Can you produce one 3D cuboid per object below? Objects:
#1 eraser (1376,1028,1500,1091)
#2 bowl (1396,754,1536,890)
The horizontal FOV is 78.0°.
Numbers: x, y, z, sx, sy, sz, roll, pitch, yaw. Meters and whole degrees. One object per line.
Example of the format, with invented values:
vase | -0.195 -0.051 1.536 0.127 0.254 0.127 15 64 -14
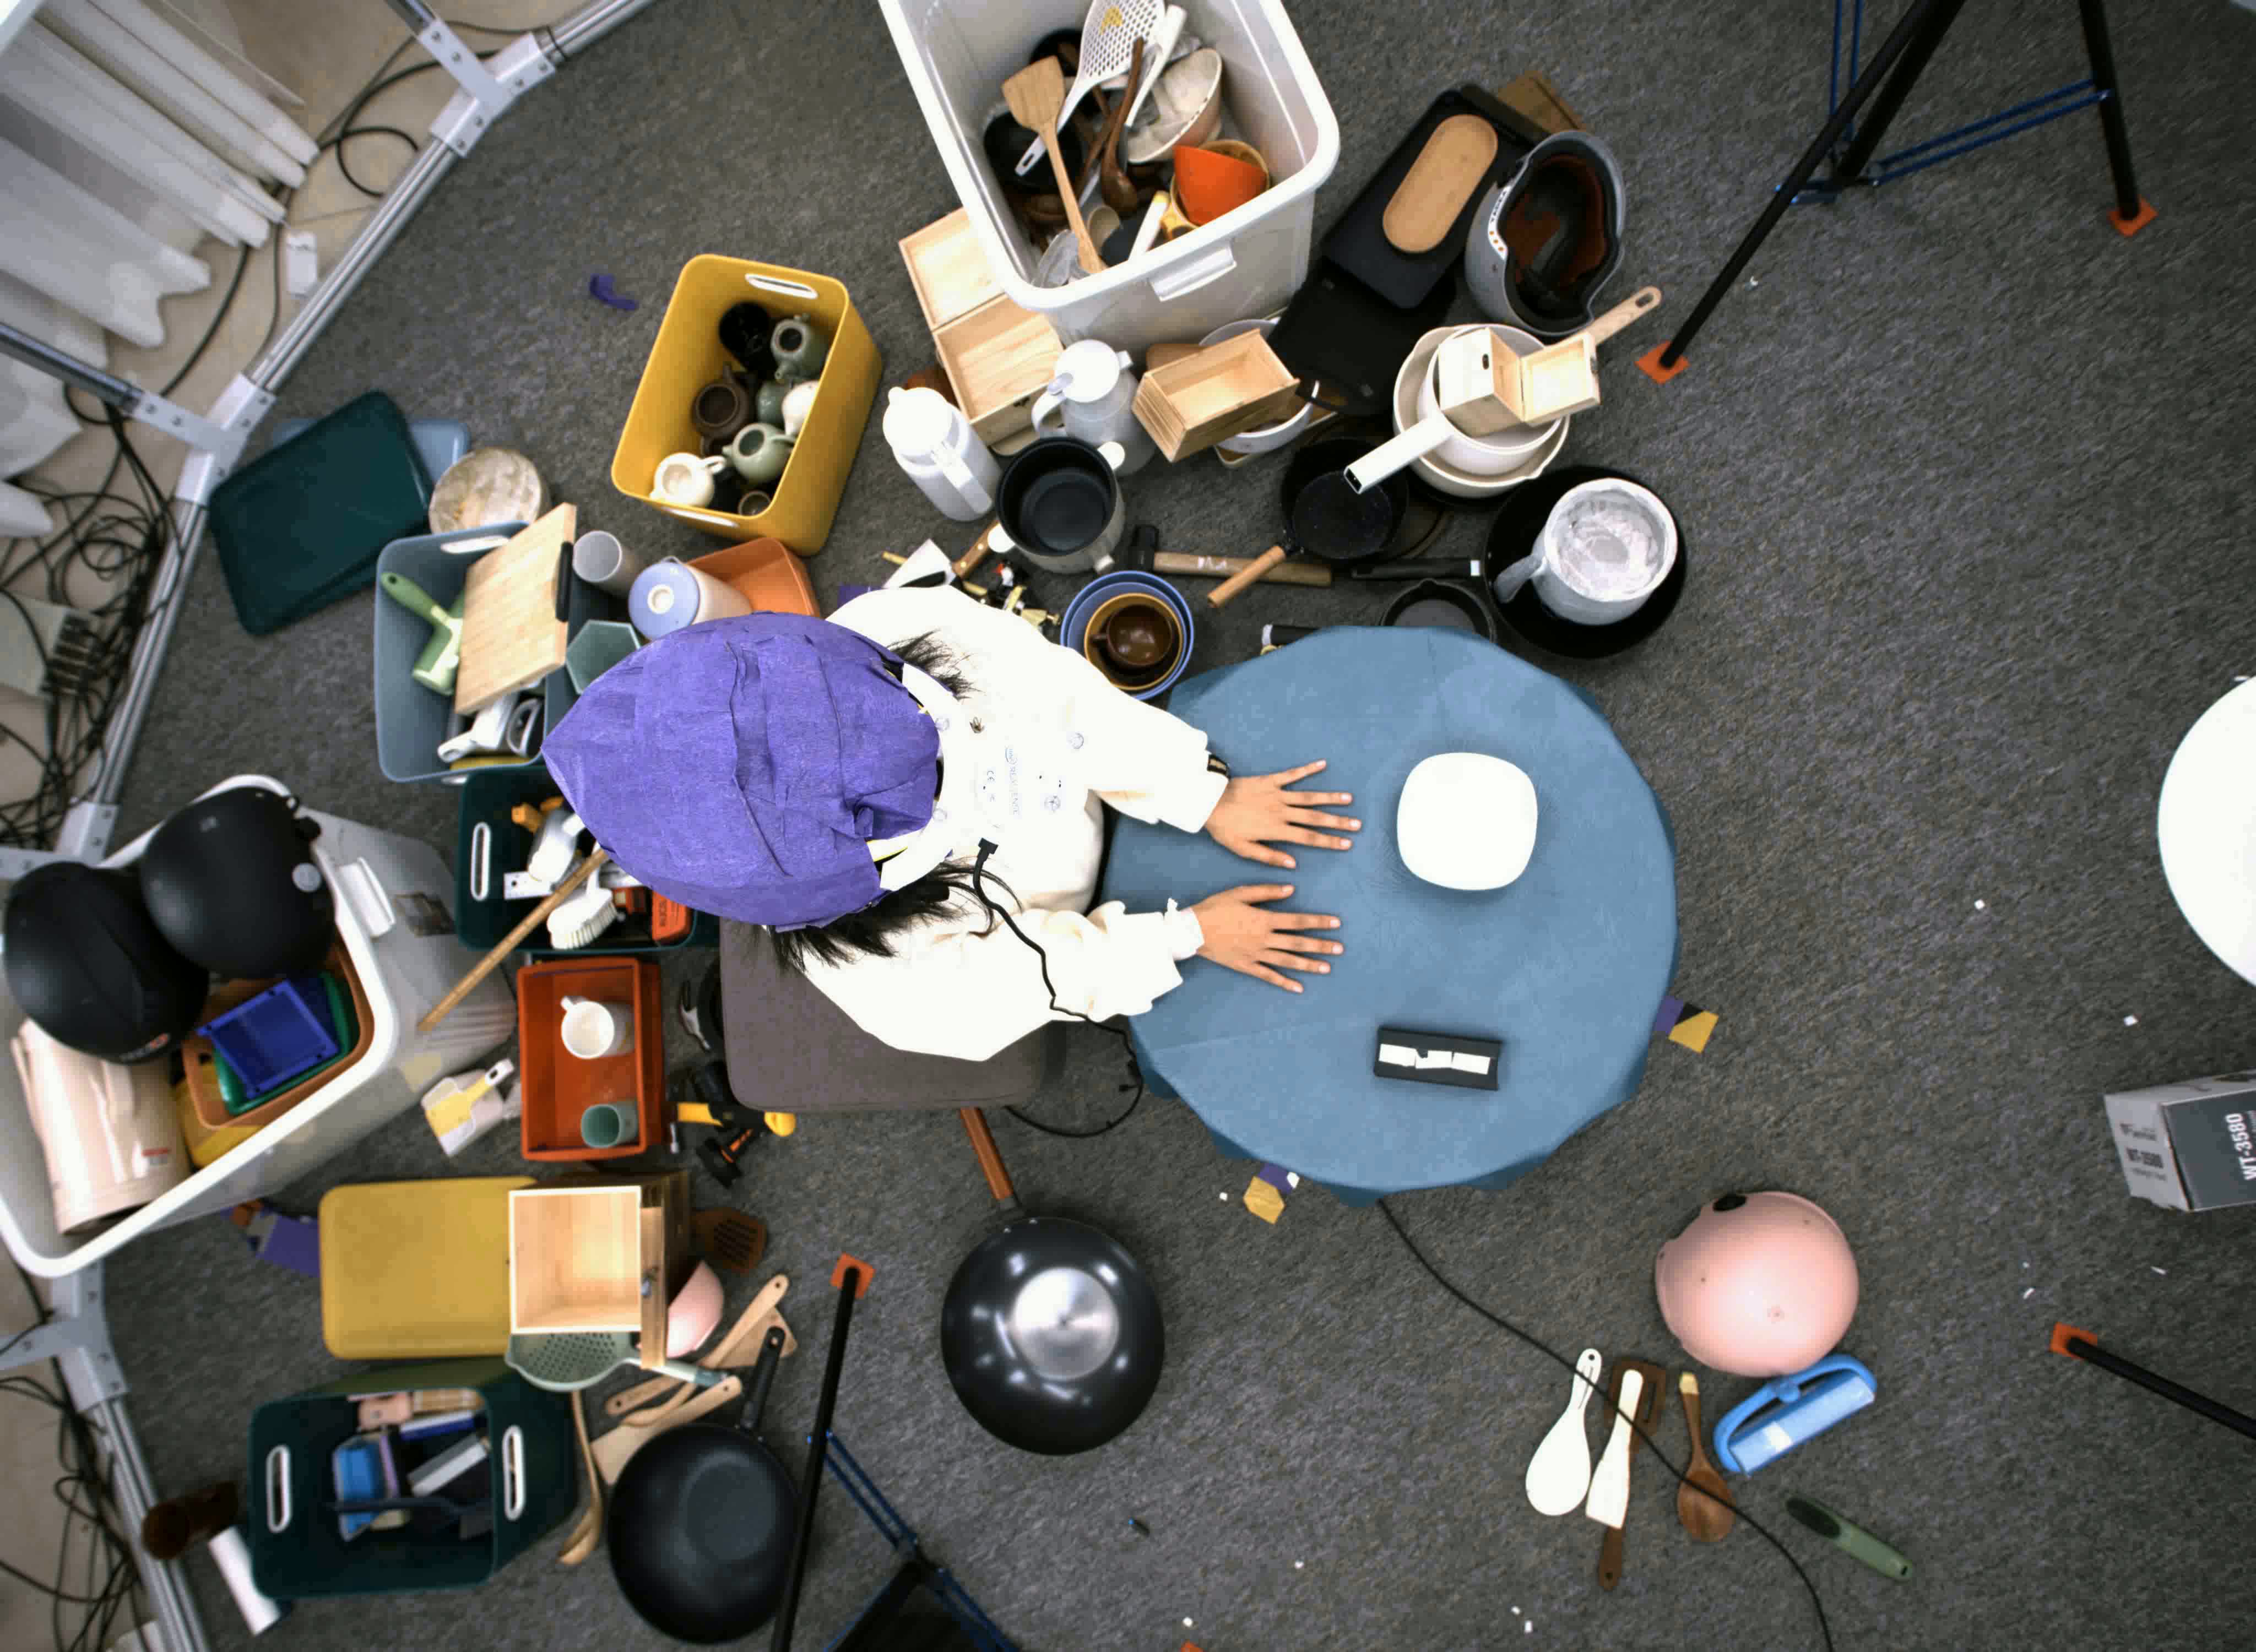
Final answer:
eraser | 0.321 0.239 1.428 0.126 0.030 0.053 4 85 13
bowl | 0.347 -0.002 1.422 0.152 0.059 0.150 -1 84 9
